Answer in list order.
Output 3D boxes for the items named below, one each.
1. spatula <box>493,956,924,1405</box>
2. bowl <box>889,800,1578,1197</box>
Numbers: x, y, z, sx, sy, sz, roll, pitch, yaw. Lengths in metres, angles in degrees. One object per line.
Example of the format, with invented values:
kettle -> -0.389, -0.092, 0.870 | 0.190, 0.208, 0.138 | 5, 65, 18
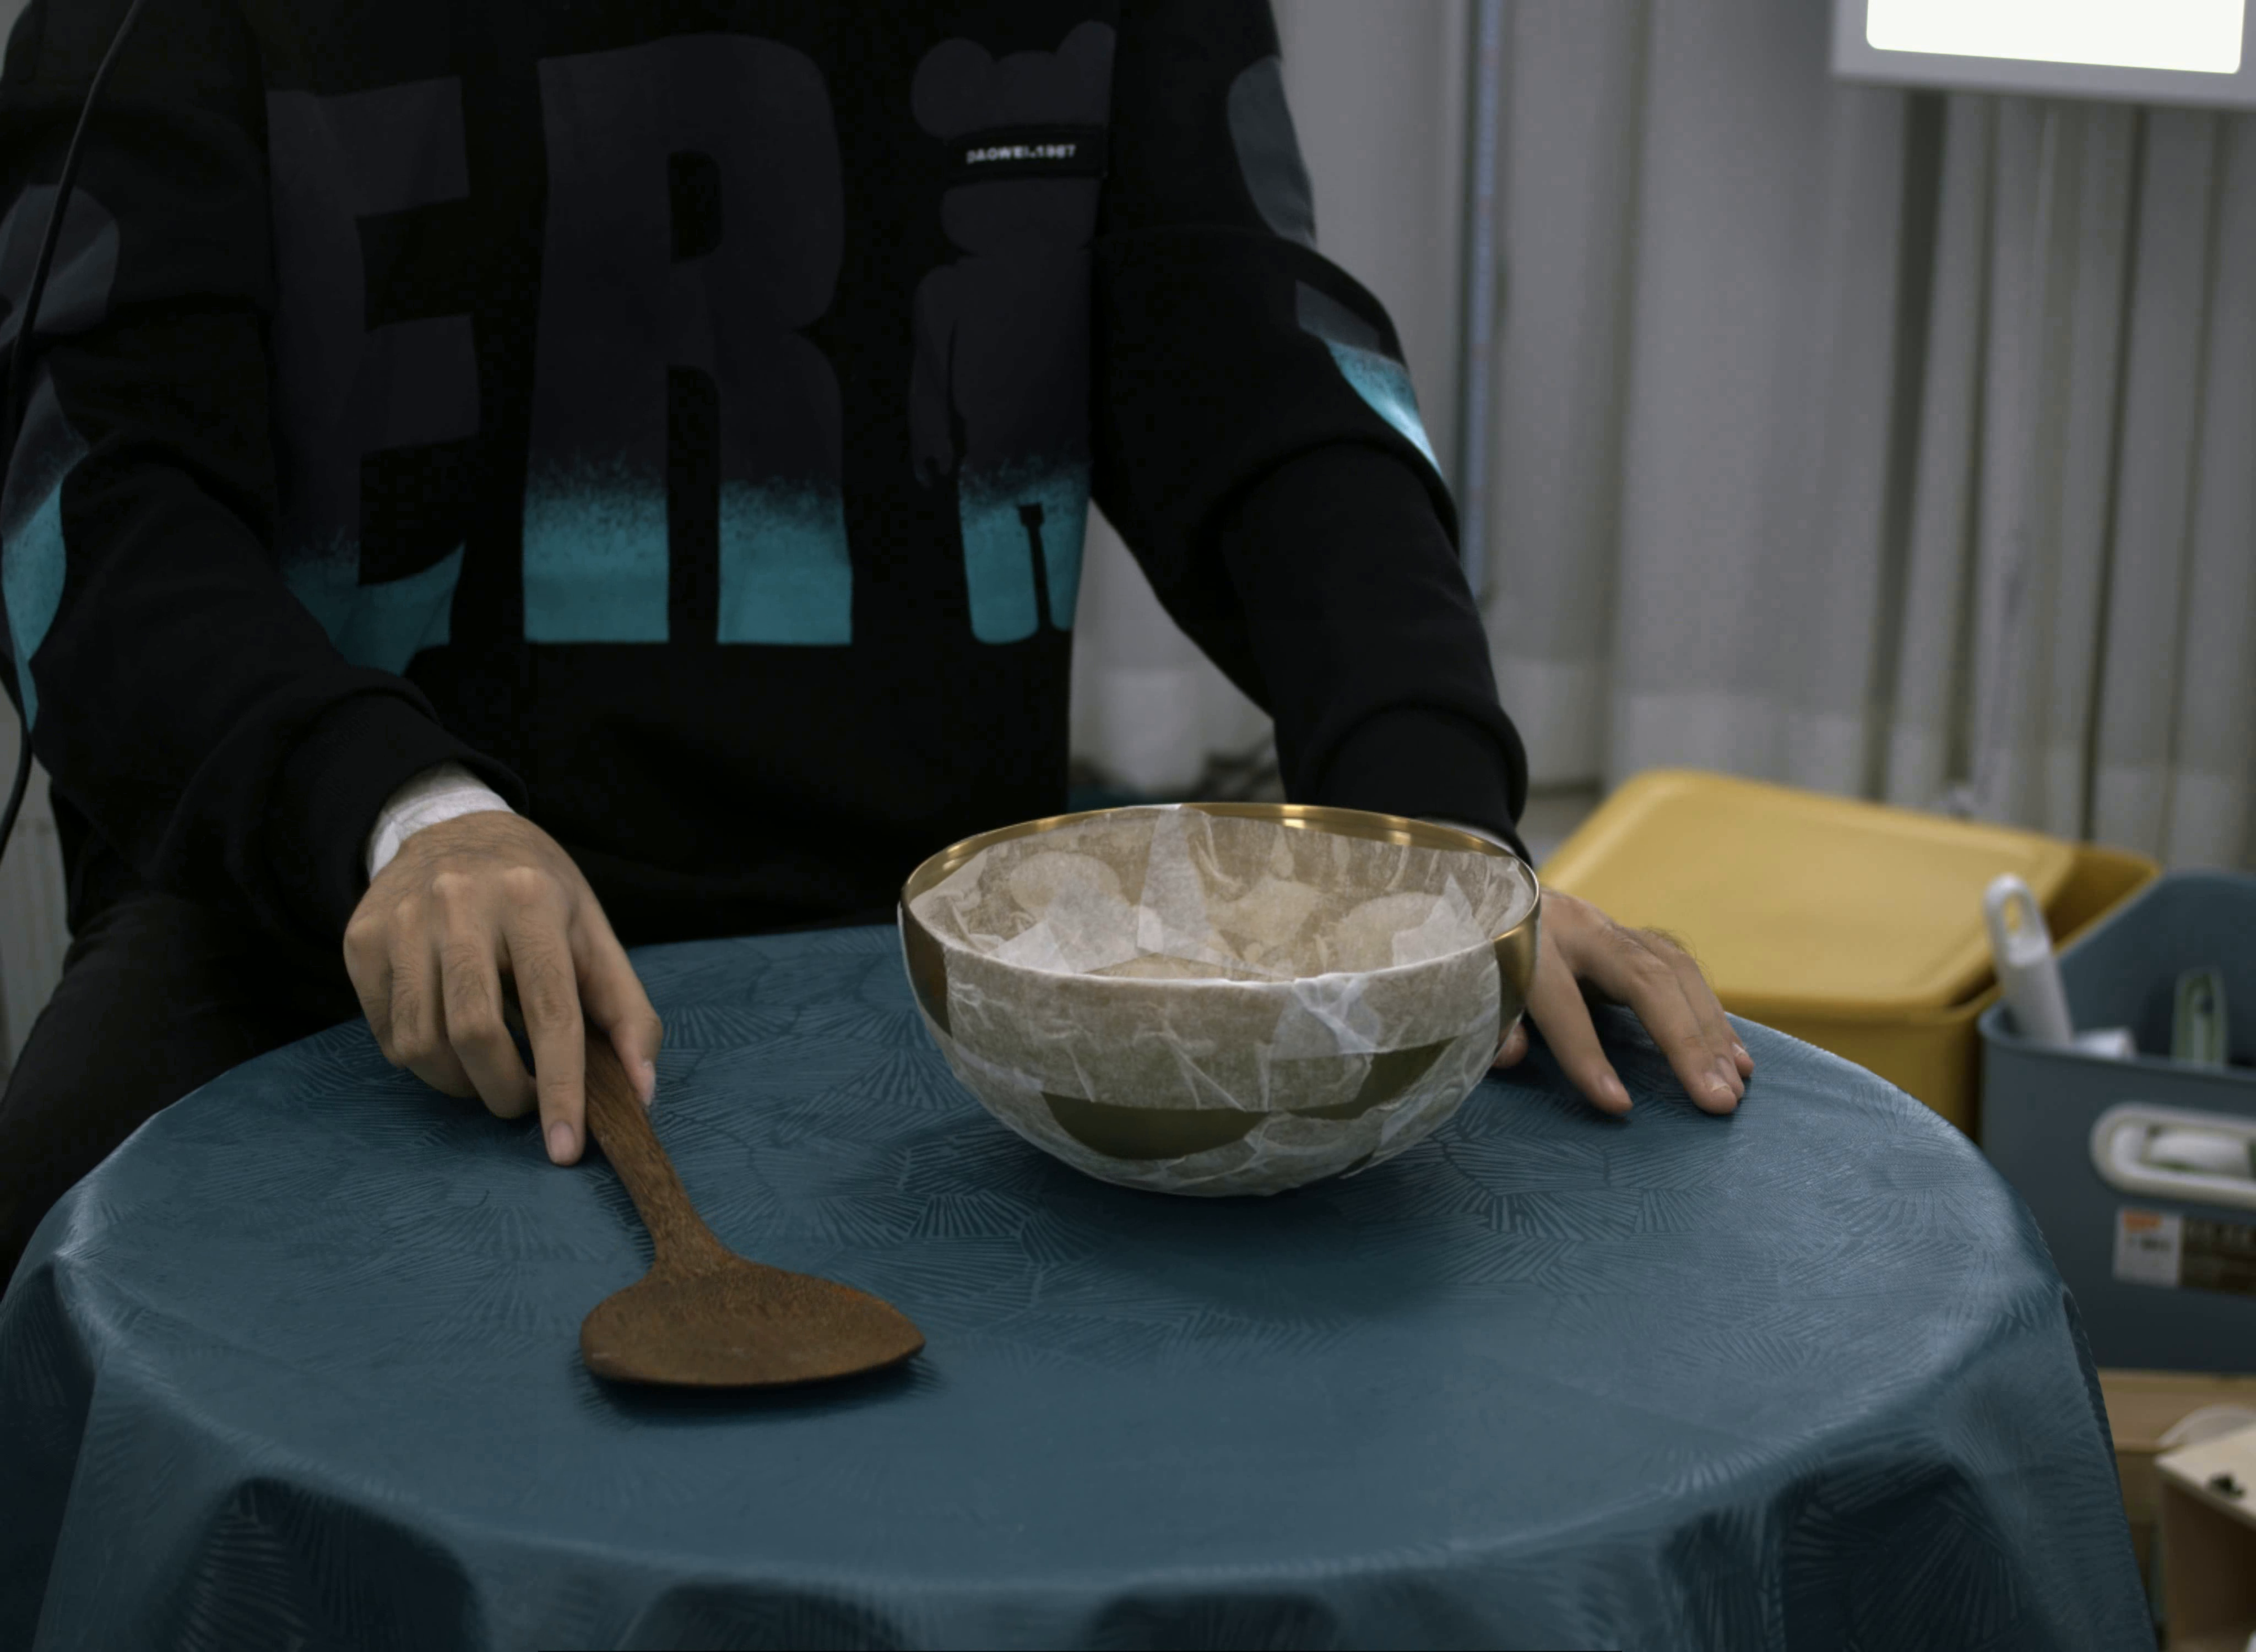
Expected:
spatula -> -0.150, 0.101, 1.618 | 0.096, 0.016, 0.382 | -4, 19, -16
bowl -> 0.032, 0.061, 1.641 | 0.214, 0.095, 0.213 | -1, 14, 1
